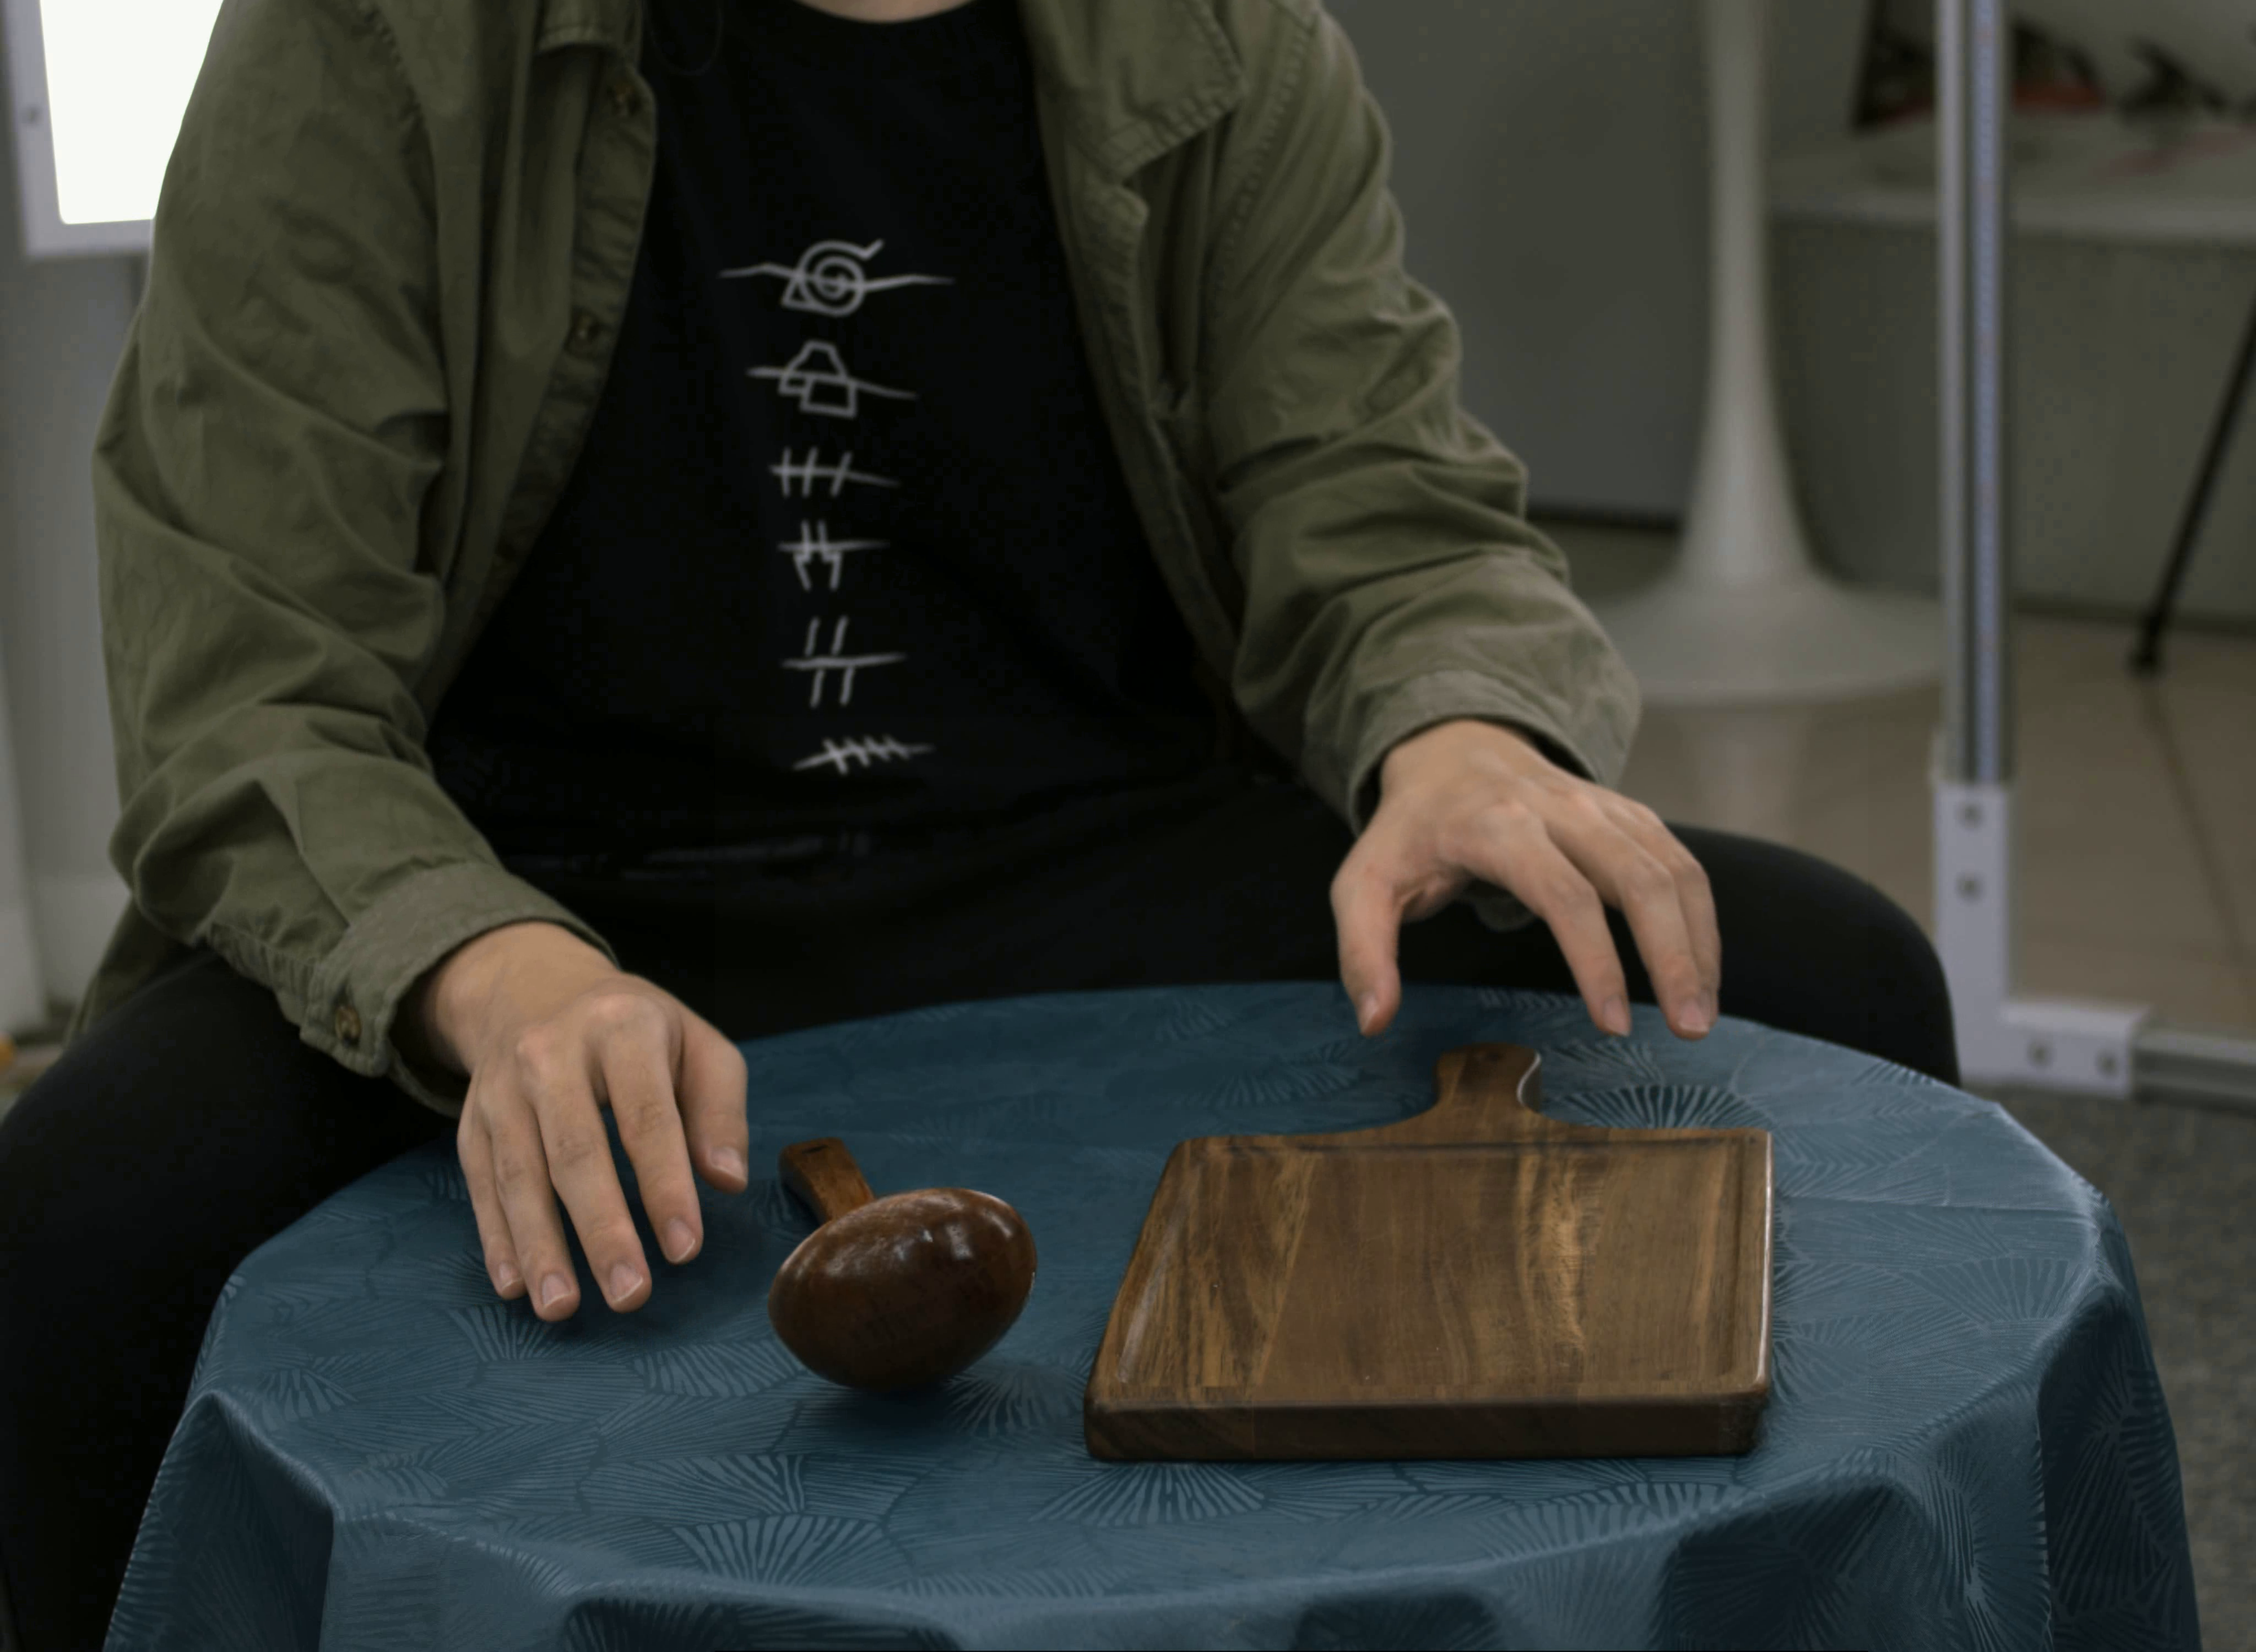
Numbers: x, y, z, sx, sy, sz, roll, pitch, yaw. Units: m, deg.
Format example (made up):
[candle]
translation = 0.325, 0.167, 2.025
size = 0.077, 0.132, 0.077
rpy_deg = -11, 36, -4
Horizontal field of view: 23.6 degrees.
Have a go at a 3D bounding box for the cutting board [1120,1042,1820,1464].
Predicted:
[cutting board]
translation = 0.116, 0.126, 1.669
size = 0.199, 0.023, 0.351
rpy_deg = -1, 14, 10

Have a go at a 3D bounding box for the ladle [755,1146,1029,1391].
[ladle]
translation = -0.086, 0.112, 1.671
size = 0.080, 0.077, 0.275
rpy_deg = -11, 14, -8
